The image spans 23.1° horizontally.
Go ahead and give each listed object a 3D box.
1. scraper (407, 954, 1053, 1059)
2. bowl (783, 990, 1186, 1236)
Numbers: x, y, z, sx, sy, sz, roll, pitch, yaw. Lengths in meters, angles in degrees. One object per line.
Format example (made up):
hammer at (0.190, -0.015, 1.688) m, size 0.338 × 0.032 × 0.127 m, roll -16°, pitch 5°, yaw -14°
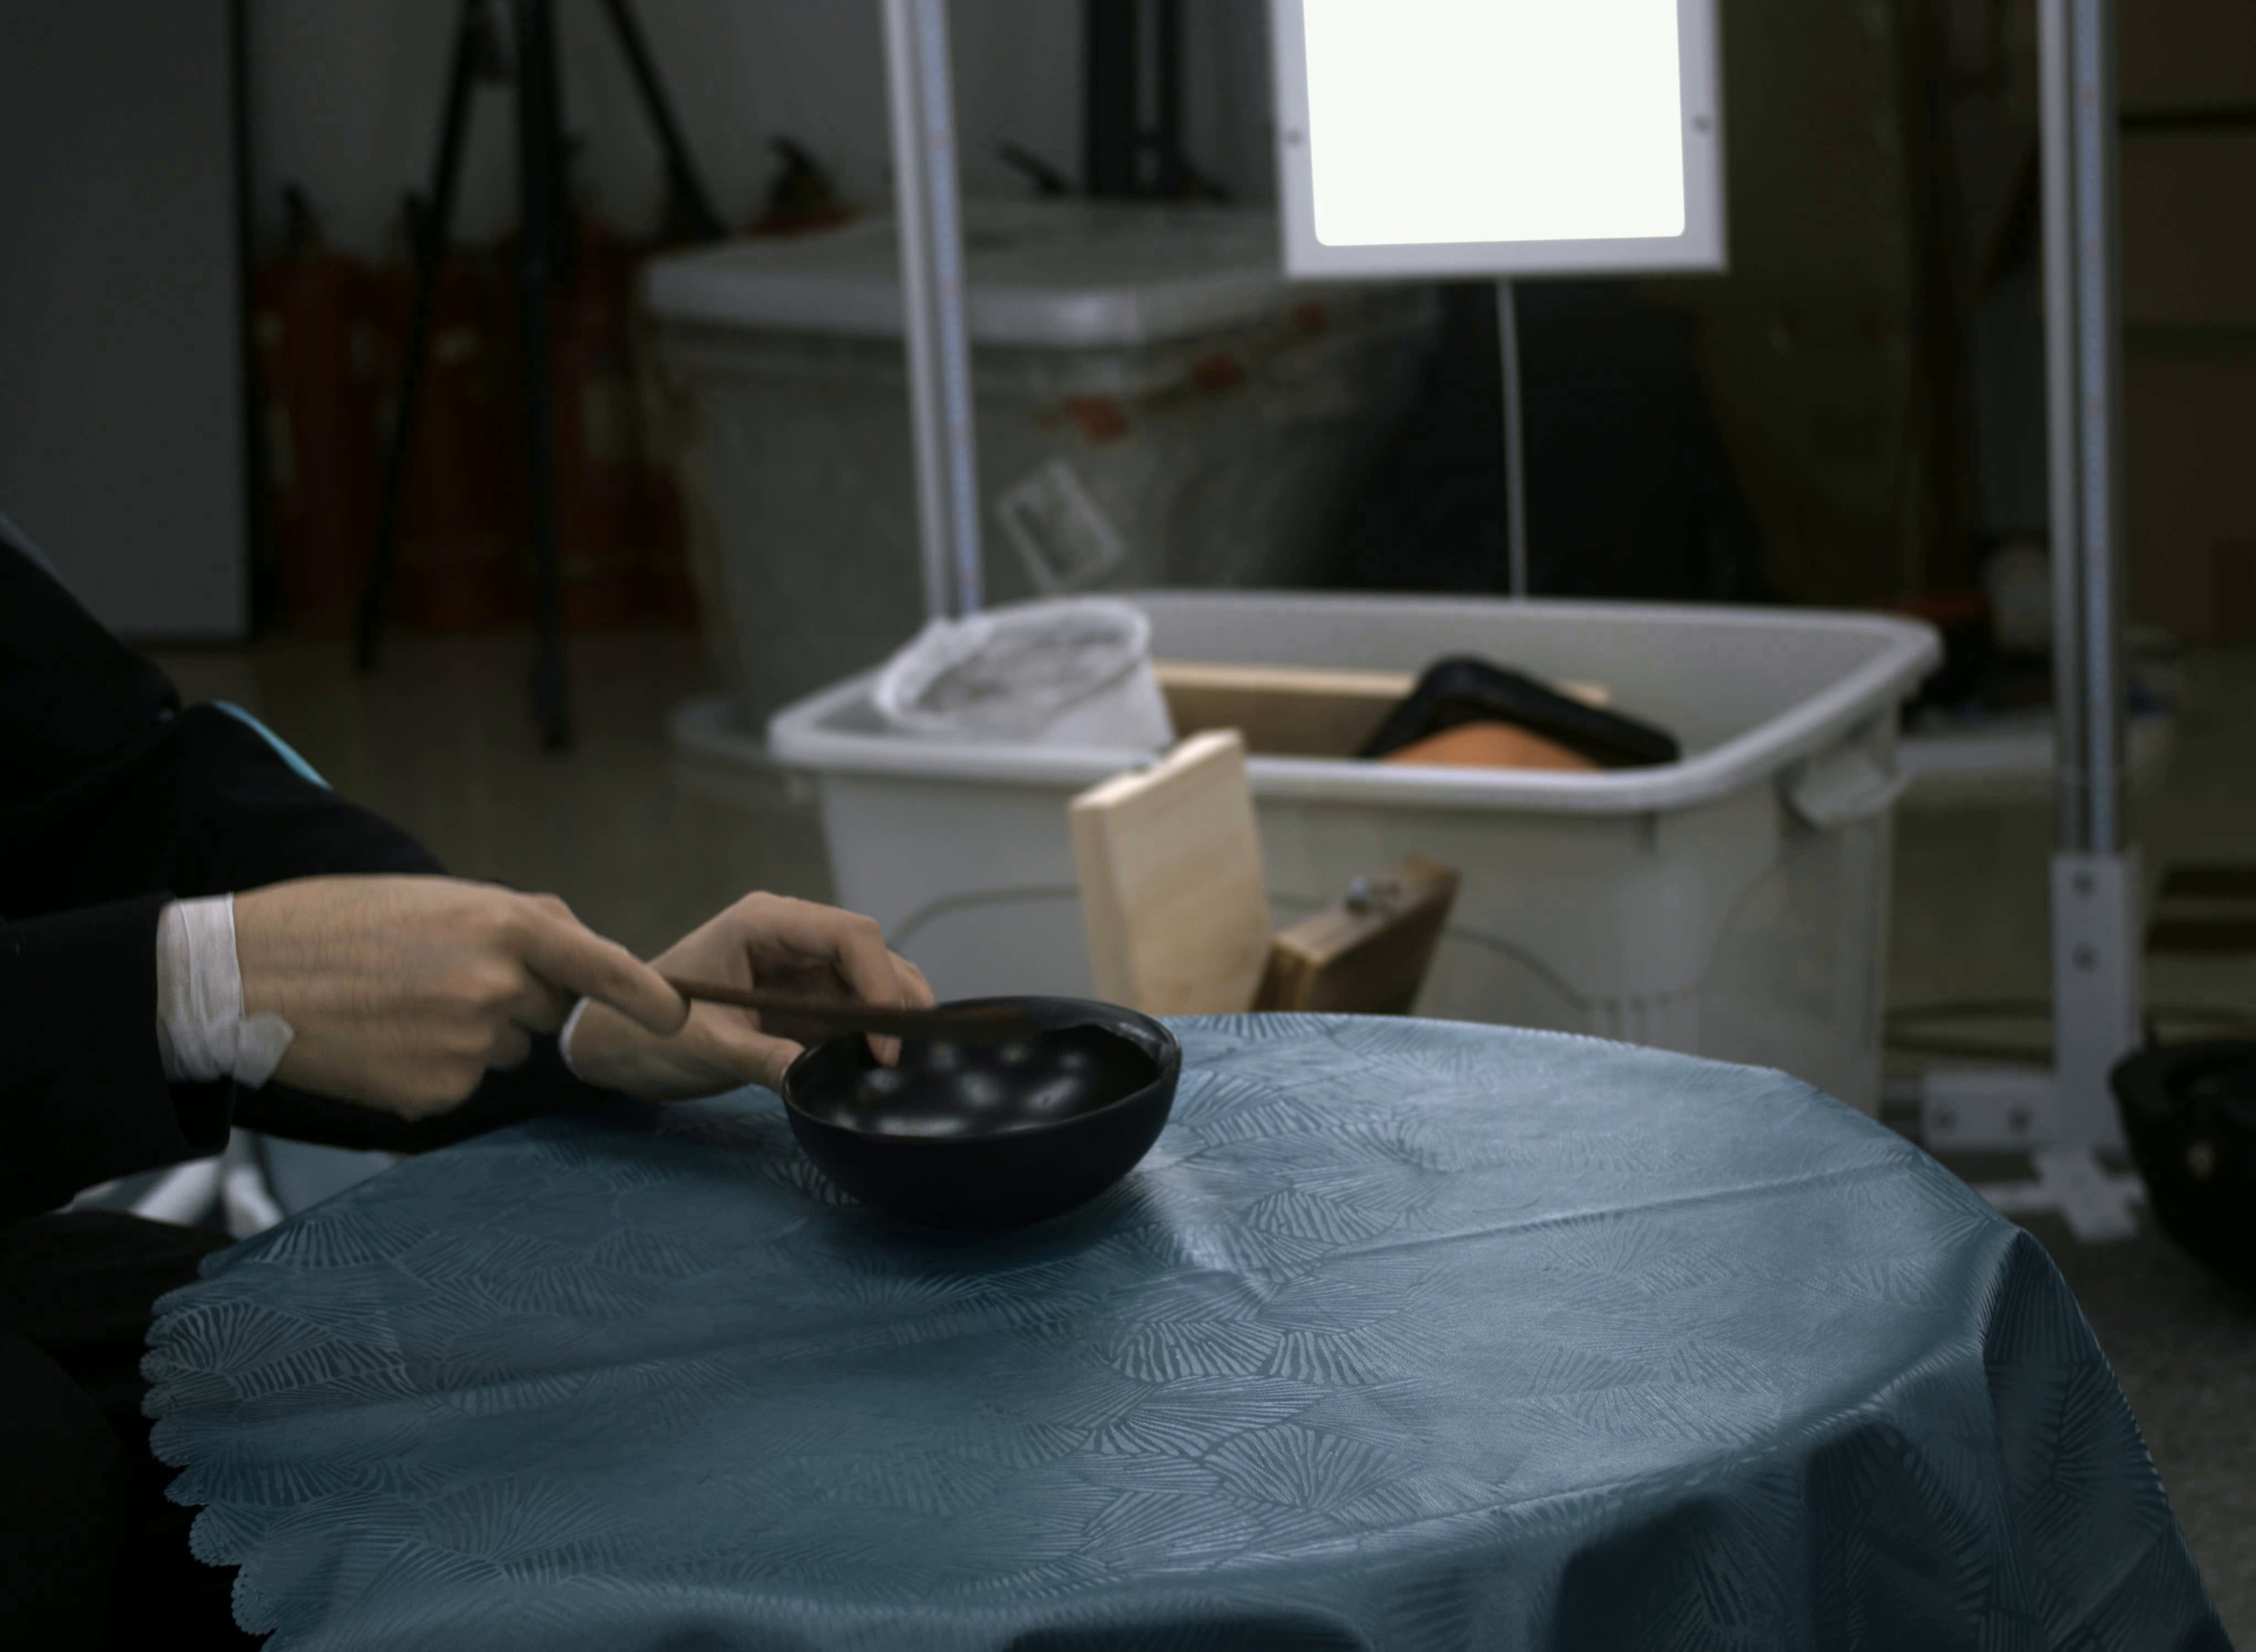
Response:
scraper at (-0.129, 0.058, 1.771) m, size 0.212 × 0.011 × 0.075 m, roll 7°, pitch -7°, yaw 10°
bowl at (-0.047, 0.104, 1.895) m, size 0.140 × 0.050 × 0.140 m, roll -6°, pitch 20°, yaw 1°
